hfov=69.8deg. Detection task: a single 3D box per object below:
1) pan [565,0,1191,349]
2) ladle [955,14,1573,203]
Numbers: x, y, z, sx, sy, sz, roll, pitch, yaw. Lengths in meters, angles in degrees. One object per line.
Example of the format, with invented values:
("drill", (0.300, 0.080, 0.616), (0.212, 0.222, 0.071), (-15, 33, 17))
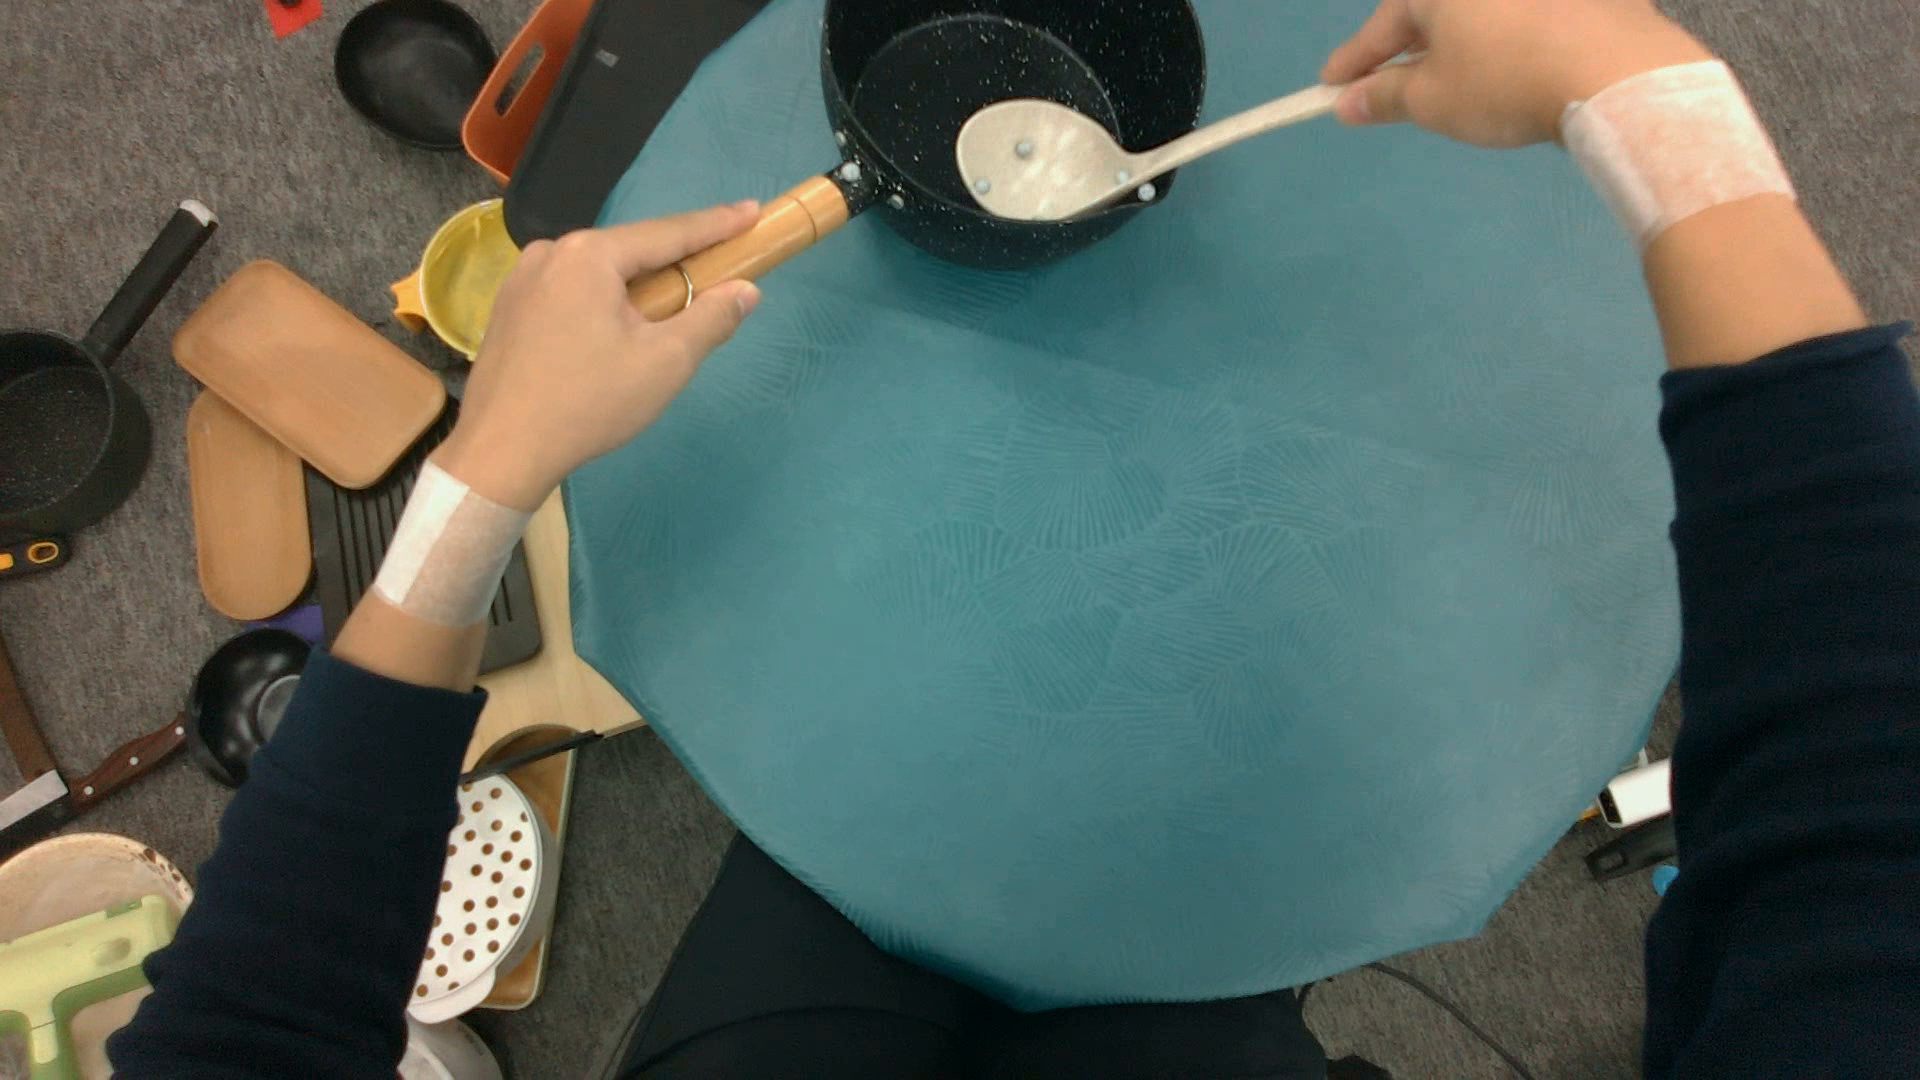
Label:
("pan", (-0.040, -0.179, 0.652), (0.207, 0.108, 0.344), (46, 70, 3))
("ladle", (0.116, -0.204, 0.599), (0.069, 0.274, 0.090), (56, 49, -25))
